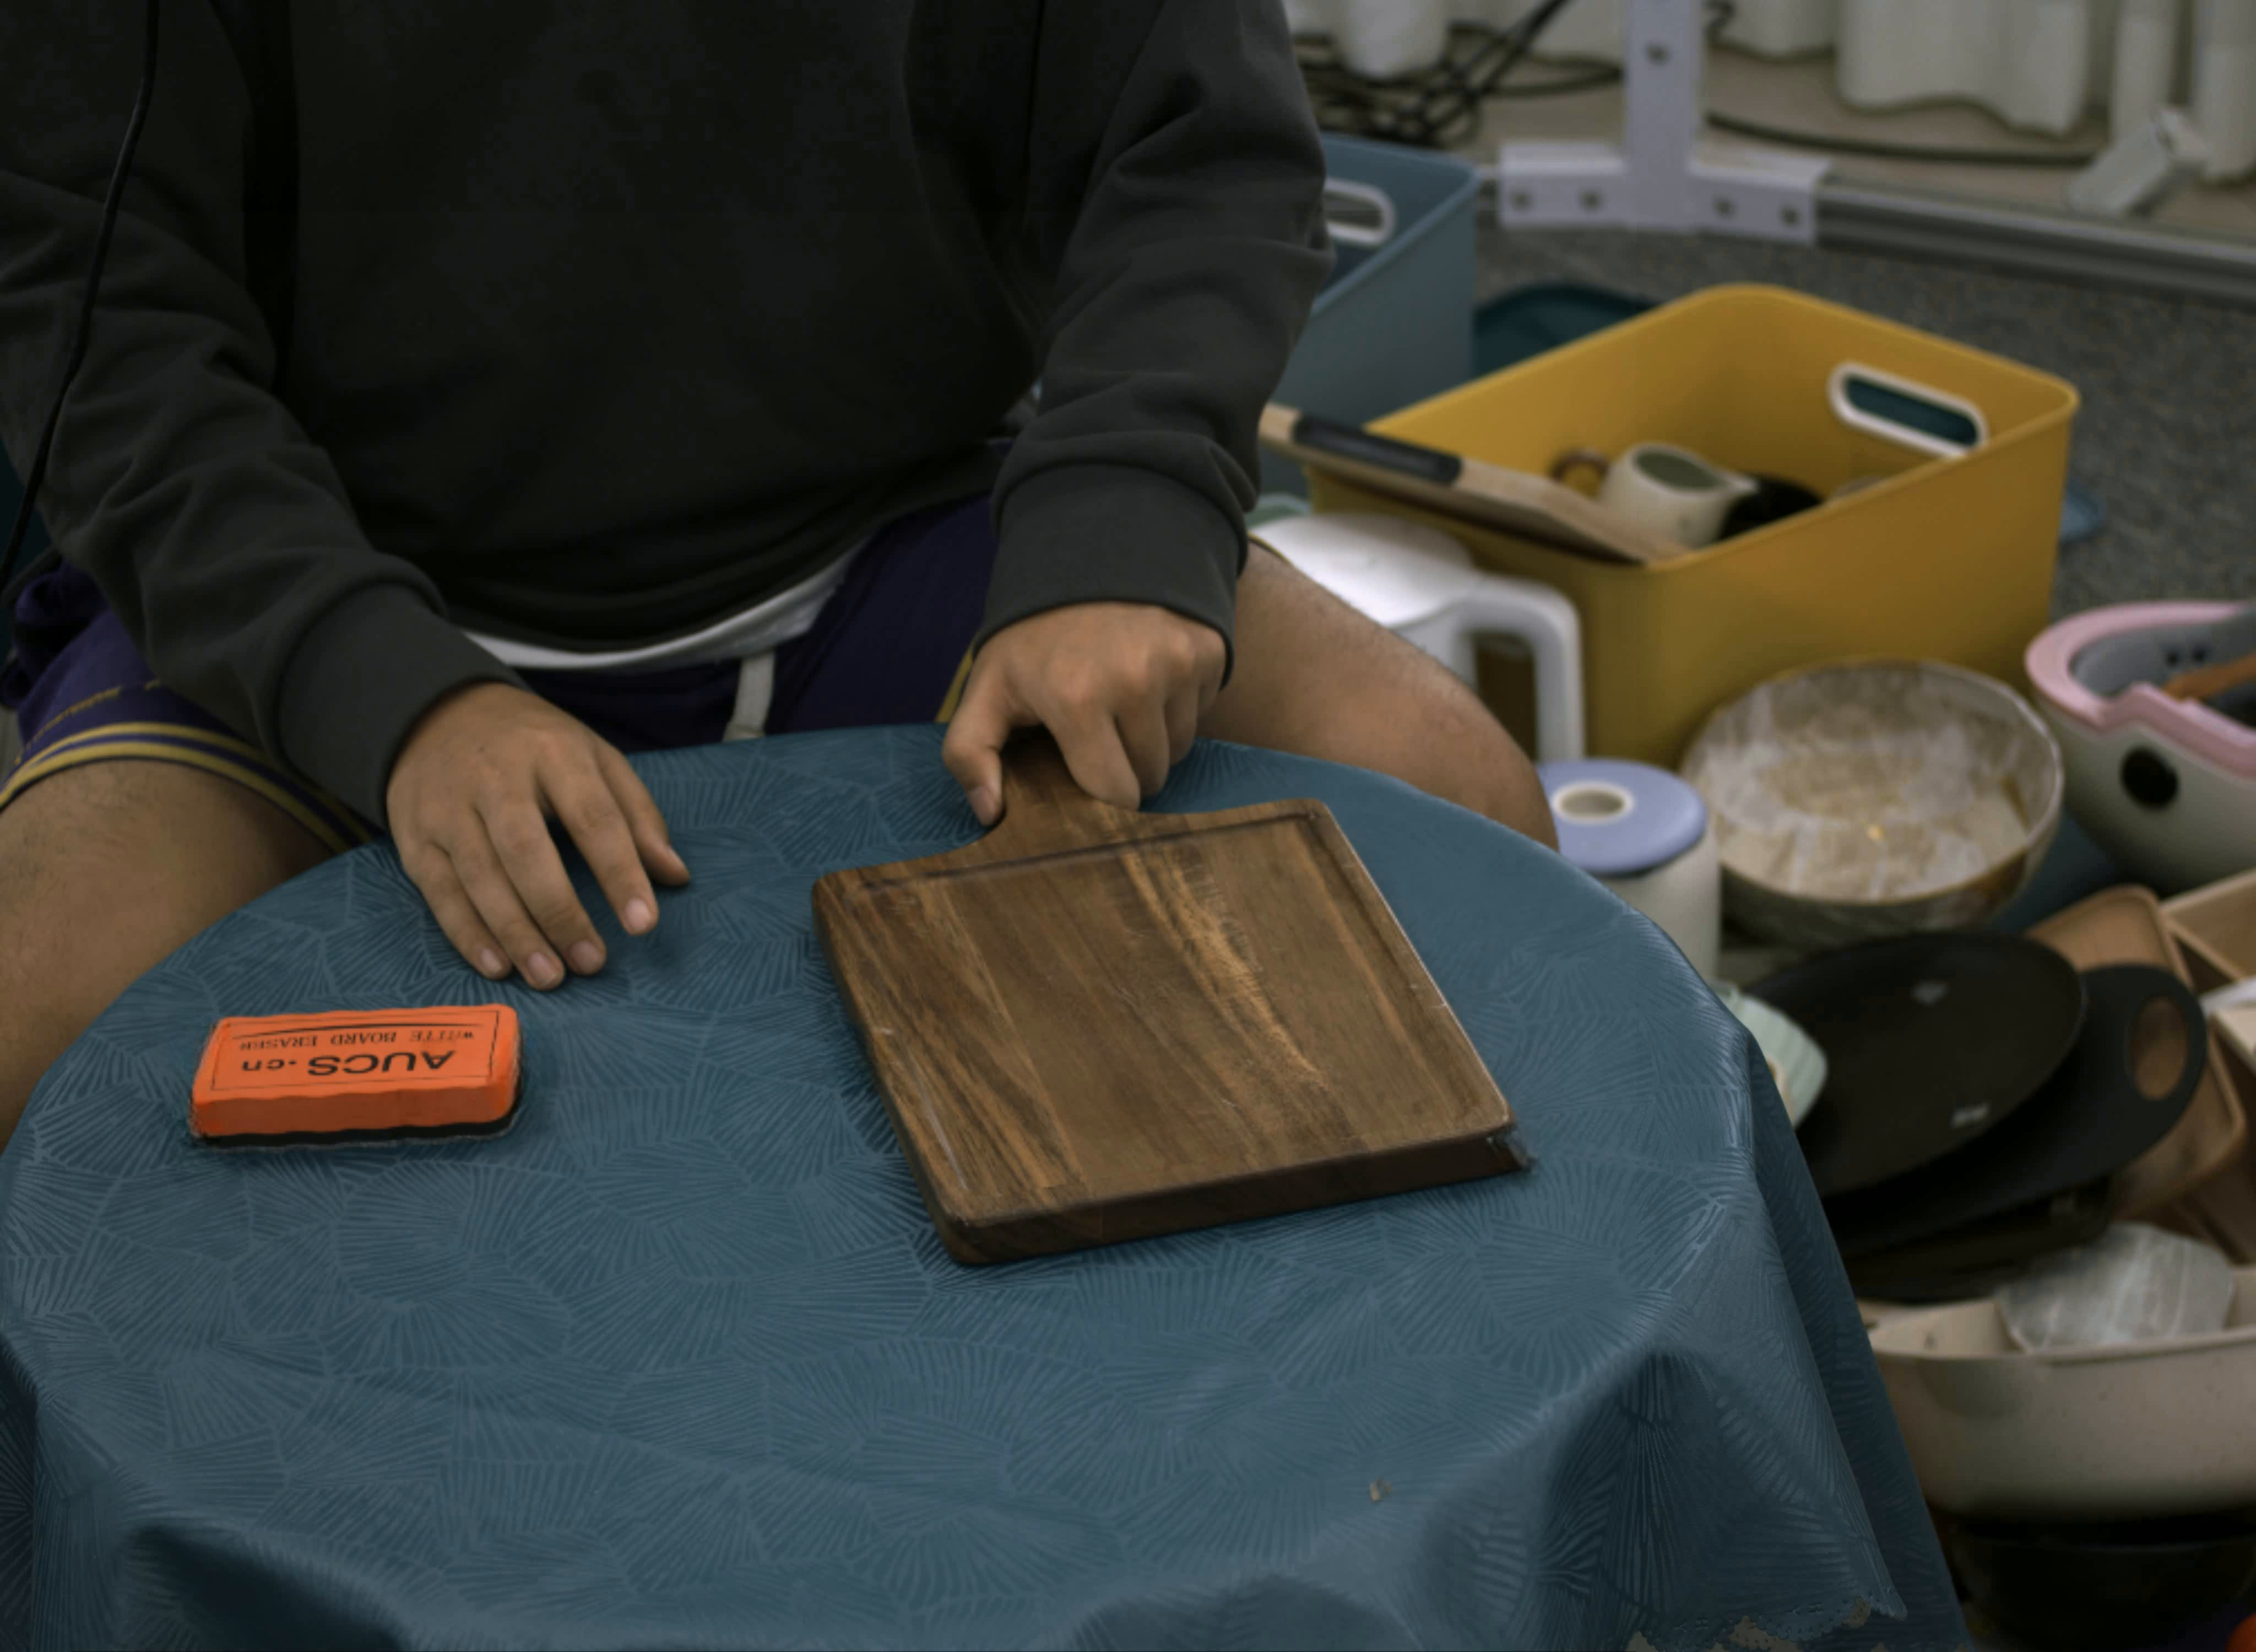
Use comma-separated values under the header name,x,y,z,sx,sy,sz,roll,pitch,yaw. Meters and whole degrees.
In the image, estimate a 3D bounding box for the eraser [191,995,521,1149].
name,x,y,z,sx,sy,sz,roll,pitch,yaw
eraser,-0.264,0.085,1.927,0.107,0.022,0.060,-4,27,0

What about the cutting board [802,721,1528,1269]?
name,x,y,z,sx,sy,sz,roll,pitch,yaw
cutting board,-0.005,0.045,1.988,0.201,0.023,0.356,-9,28,-12
